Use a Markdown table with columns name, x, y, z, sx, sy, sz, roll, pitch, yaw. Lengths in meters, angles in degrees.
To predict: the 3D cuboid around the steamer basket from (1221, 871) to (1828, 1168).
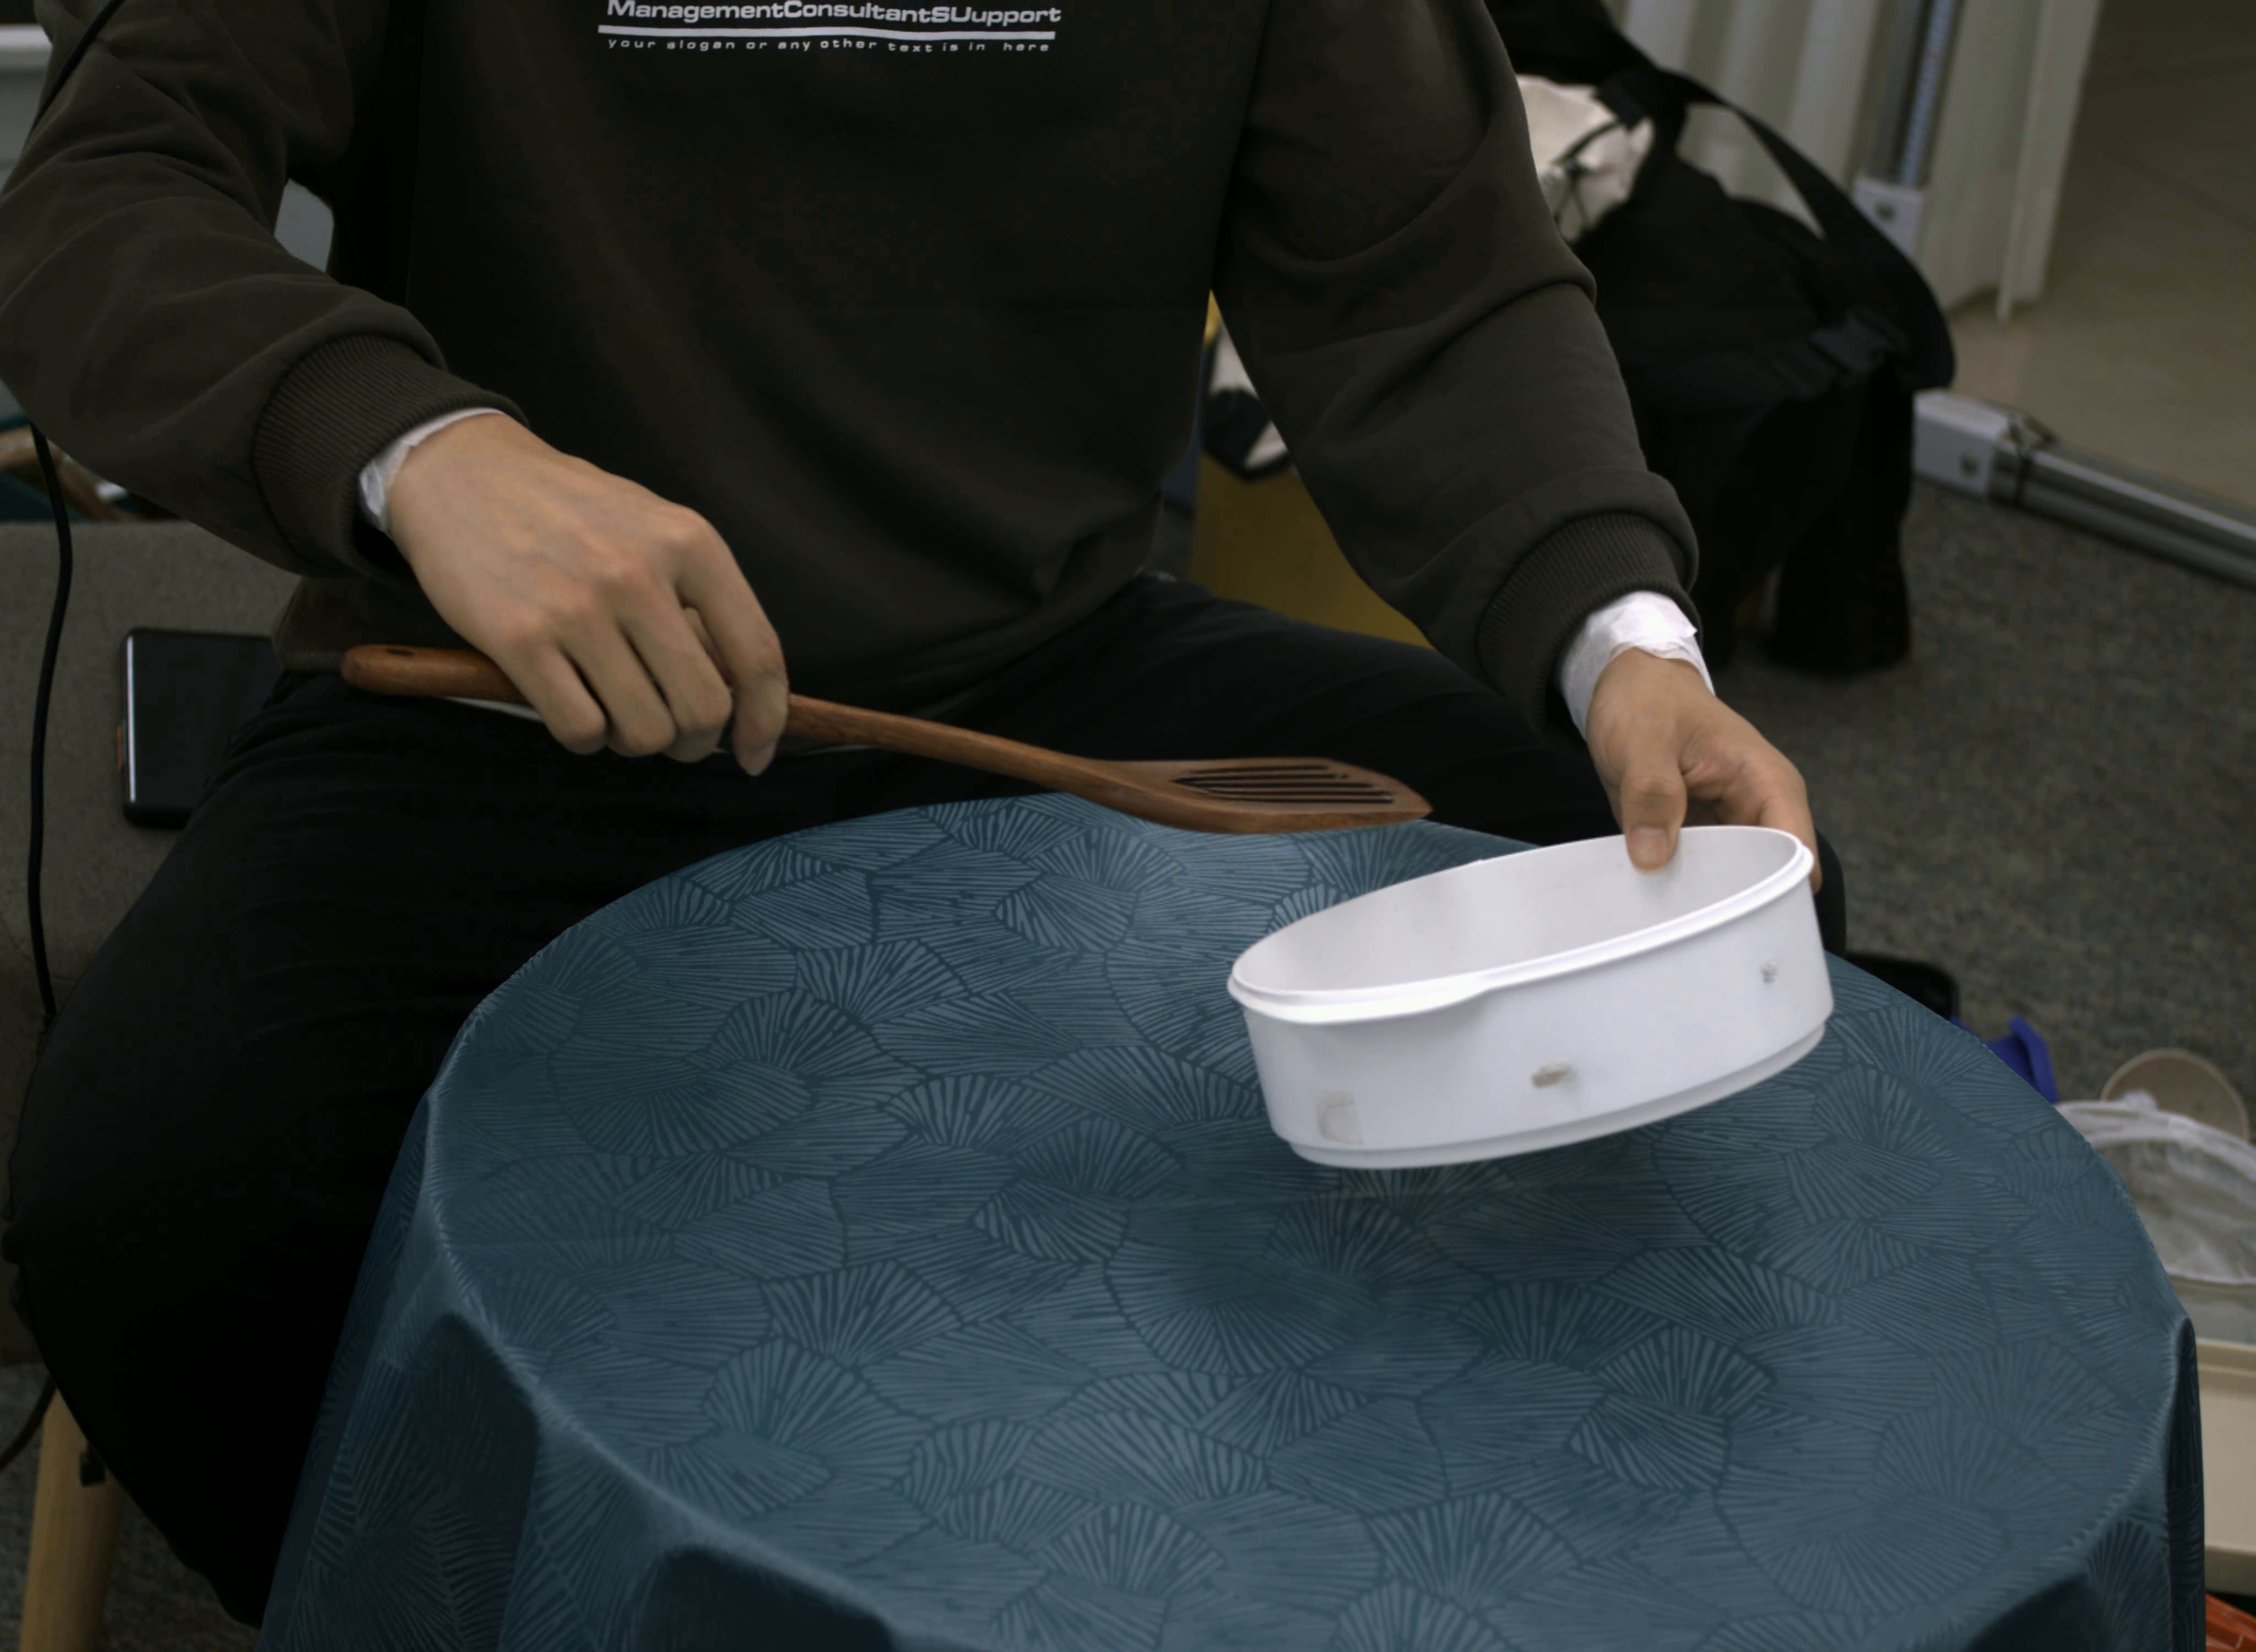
| name | x | y | z | sx | sy | sz | roll | pitch | yaw |
| --- | --- | --- | --- | --- | --- | --- | --- | --- | --- |
| steamer basket | 0.135 | 0.066 | 1.779 | 0.202 | 0.069 | 0.229 | -7 | 6 | 34 |

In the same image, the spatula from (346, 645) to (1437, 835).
| name | x | y | z | sx | sy | sz | roll | pitch | yaw |
| --- | --- | --- | --- | --- | --- | --- | --- | --- | --- |
| spatula | -0.076 | -0.028 | 1.779 | 0.382 | 0.024 | 0.086 | 8 | 12 | -25 |
